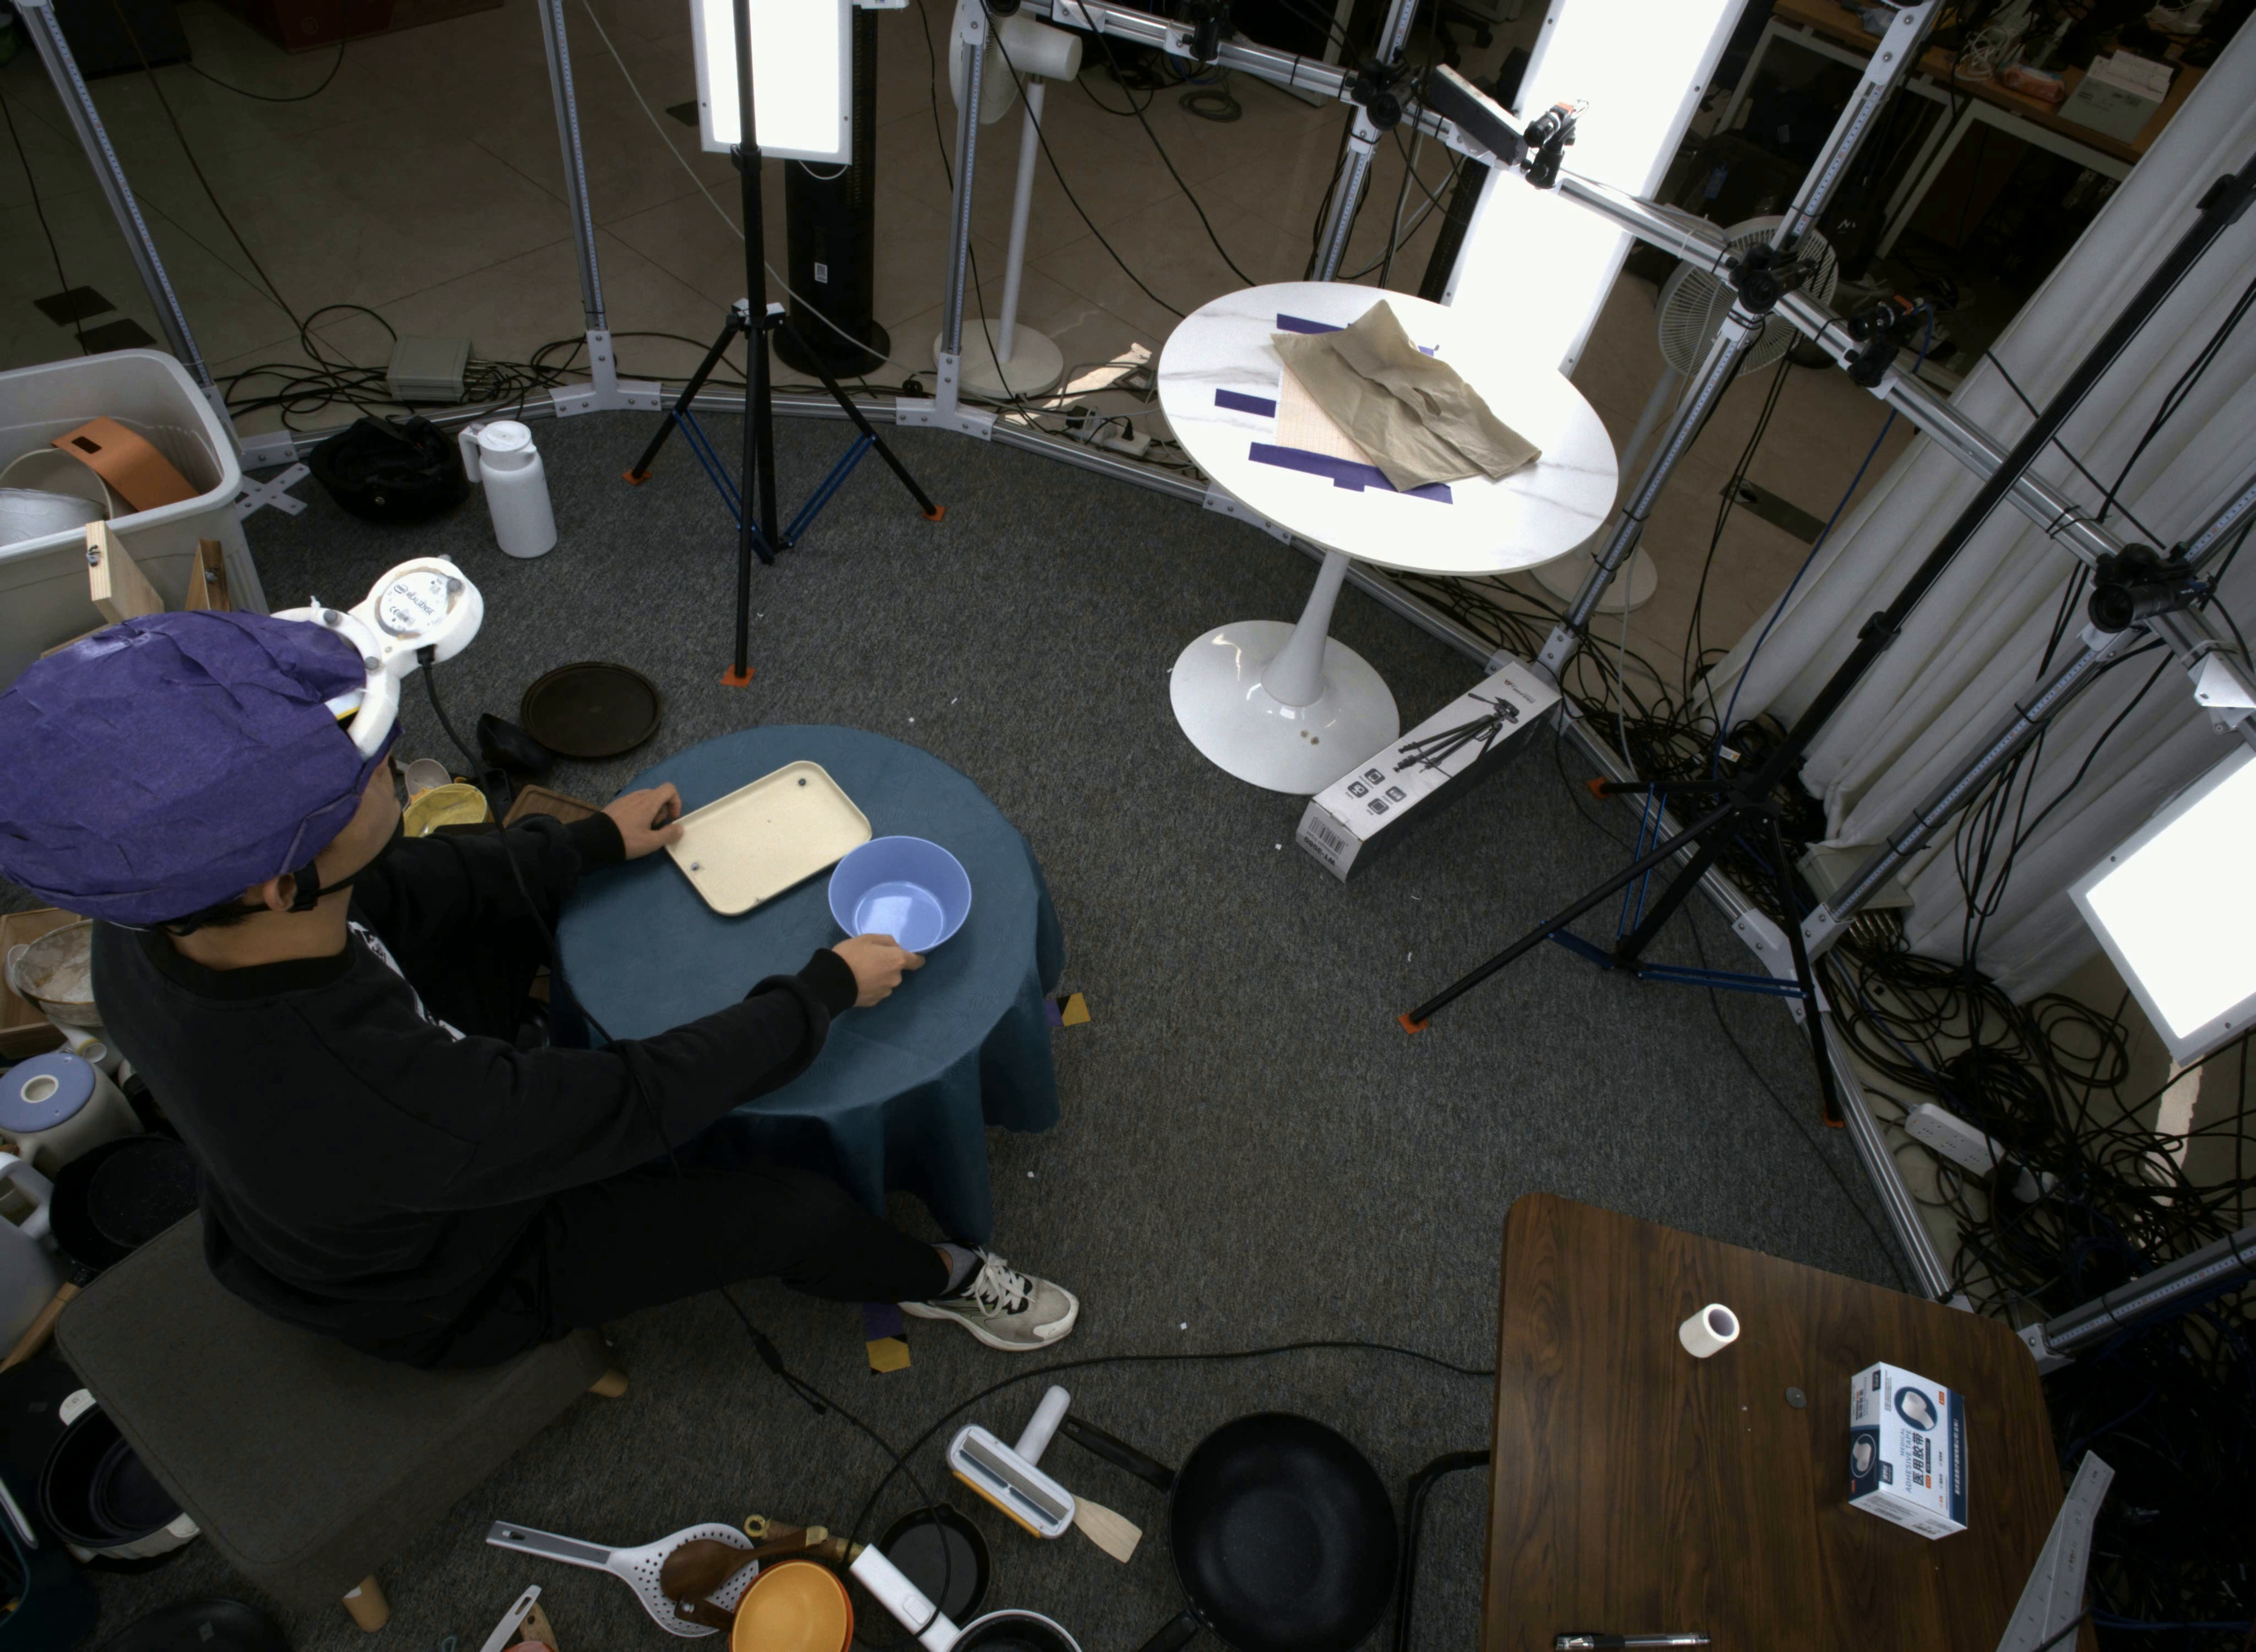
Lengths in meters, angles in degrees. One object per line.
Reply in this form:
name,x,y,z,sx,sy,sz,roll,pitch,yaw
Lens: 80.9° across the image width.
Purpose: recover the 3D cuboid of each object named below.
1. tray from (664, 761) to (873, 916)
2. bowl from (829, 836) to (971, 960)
tray,-0.470,0.014,1.696,0.240,0.018,0.167,-32,66,-32
bowl,-0.287,0.101,1.644,0.175,0.072,0.173,7,52,-8
